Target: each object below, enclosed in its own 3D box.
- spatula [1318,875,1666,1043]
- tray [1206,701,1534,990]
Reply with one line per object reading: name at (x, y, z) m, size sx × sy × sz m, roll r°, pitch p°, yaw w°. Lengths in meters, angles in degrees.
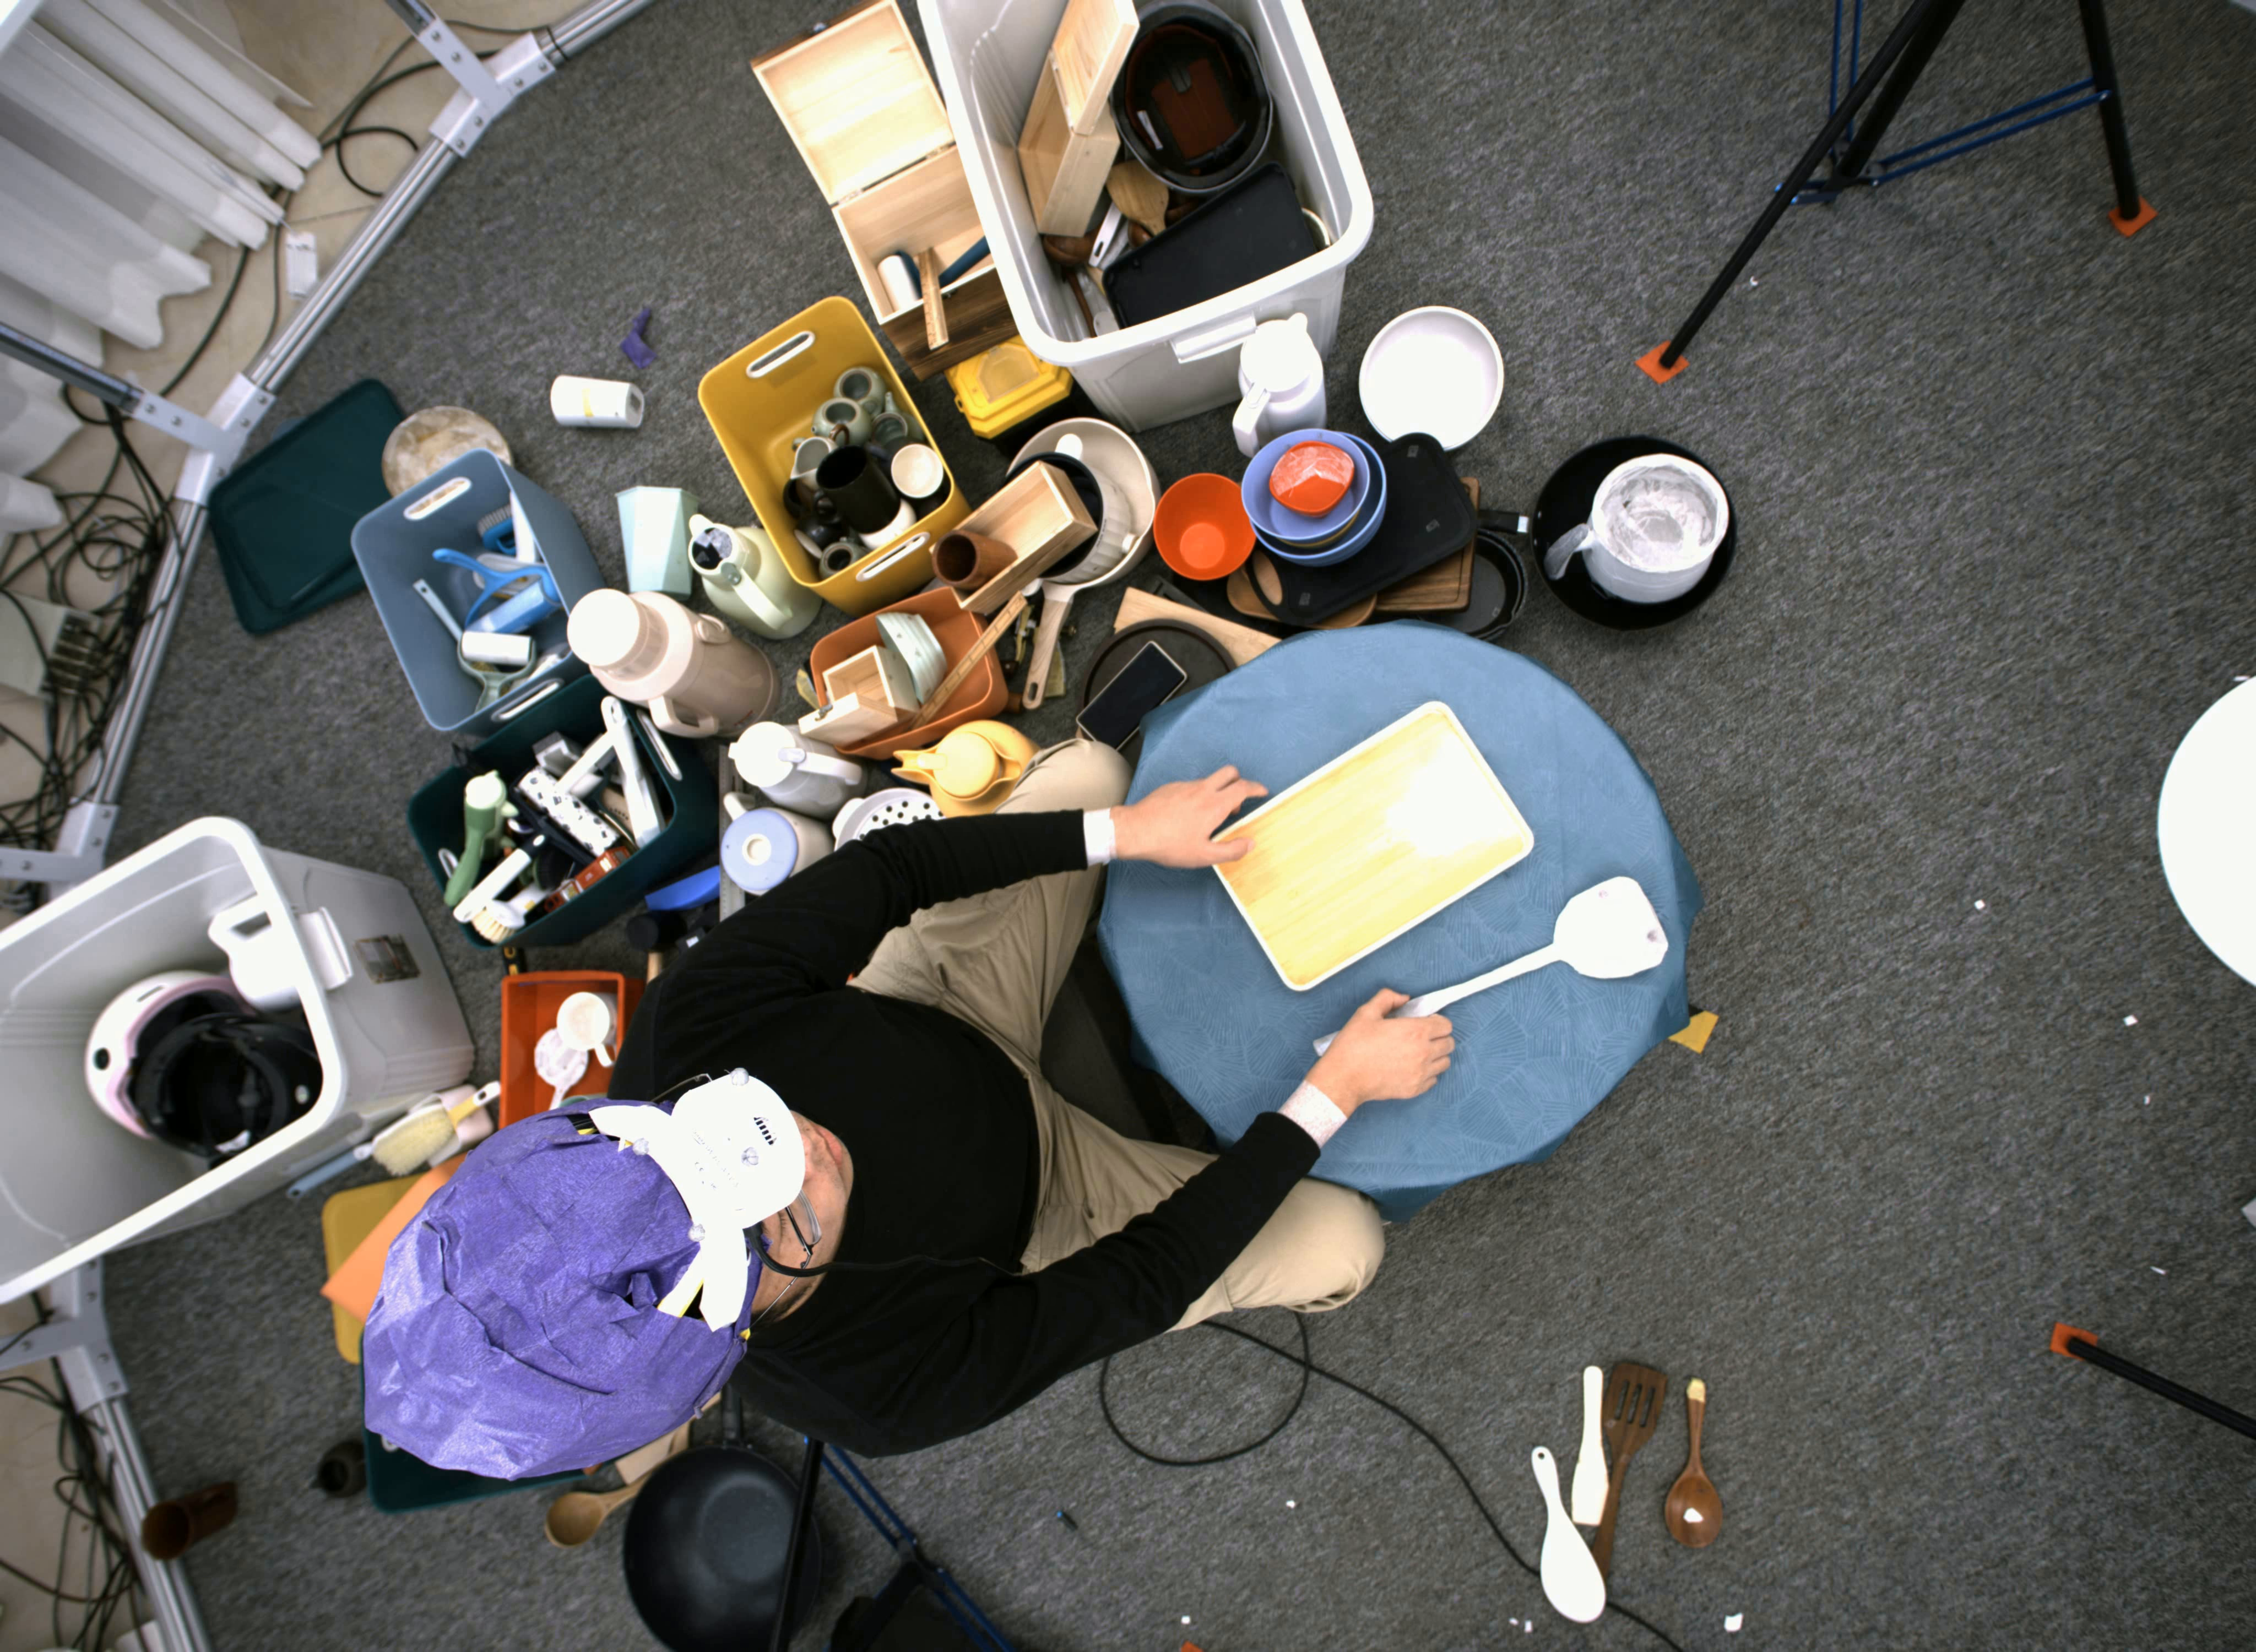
spatula at (0.367, 0.155, 1.418) m, size 0.367 × 0.045 × 0.098 m, roll -23°, pitch 84°, yaw 8°
tray at (0.252, 0.020, 1.453) m, size 0.302 × 0.027 × 0.190 m, roll -32°, pitch 82°, yaw 7°
